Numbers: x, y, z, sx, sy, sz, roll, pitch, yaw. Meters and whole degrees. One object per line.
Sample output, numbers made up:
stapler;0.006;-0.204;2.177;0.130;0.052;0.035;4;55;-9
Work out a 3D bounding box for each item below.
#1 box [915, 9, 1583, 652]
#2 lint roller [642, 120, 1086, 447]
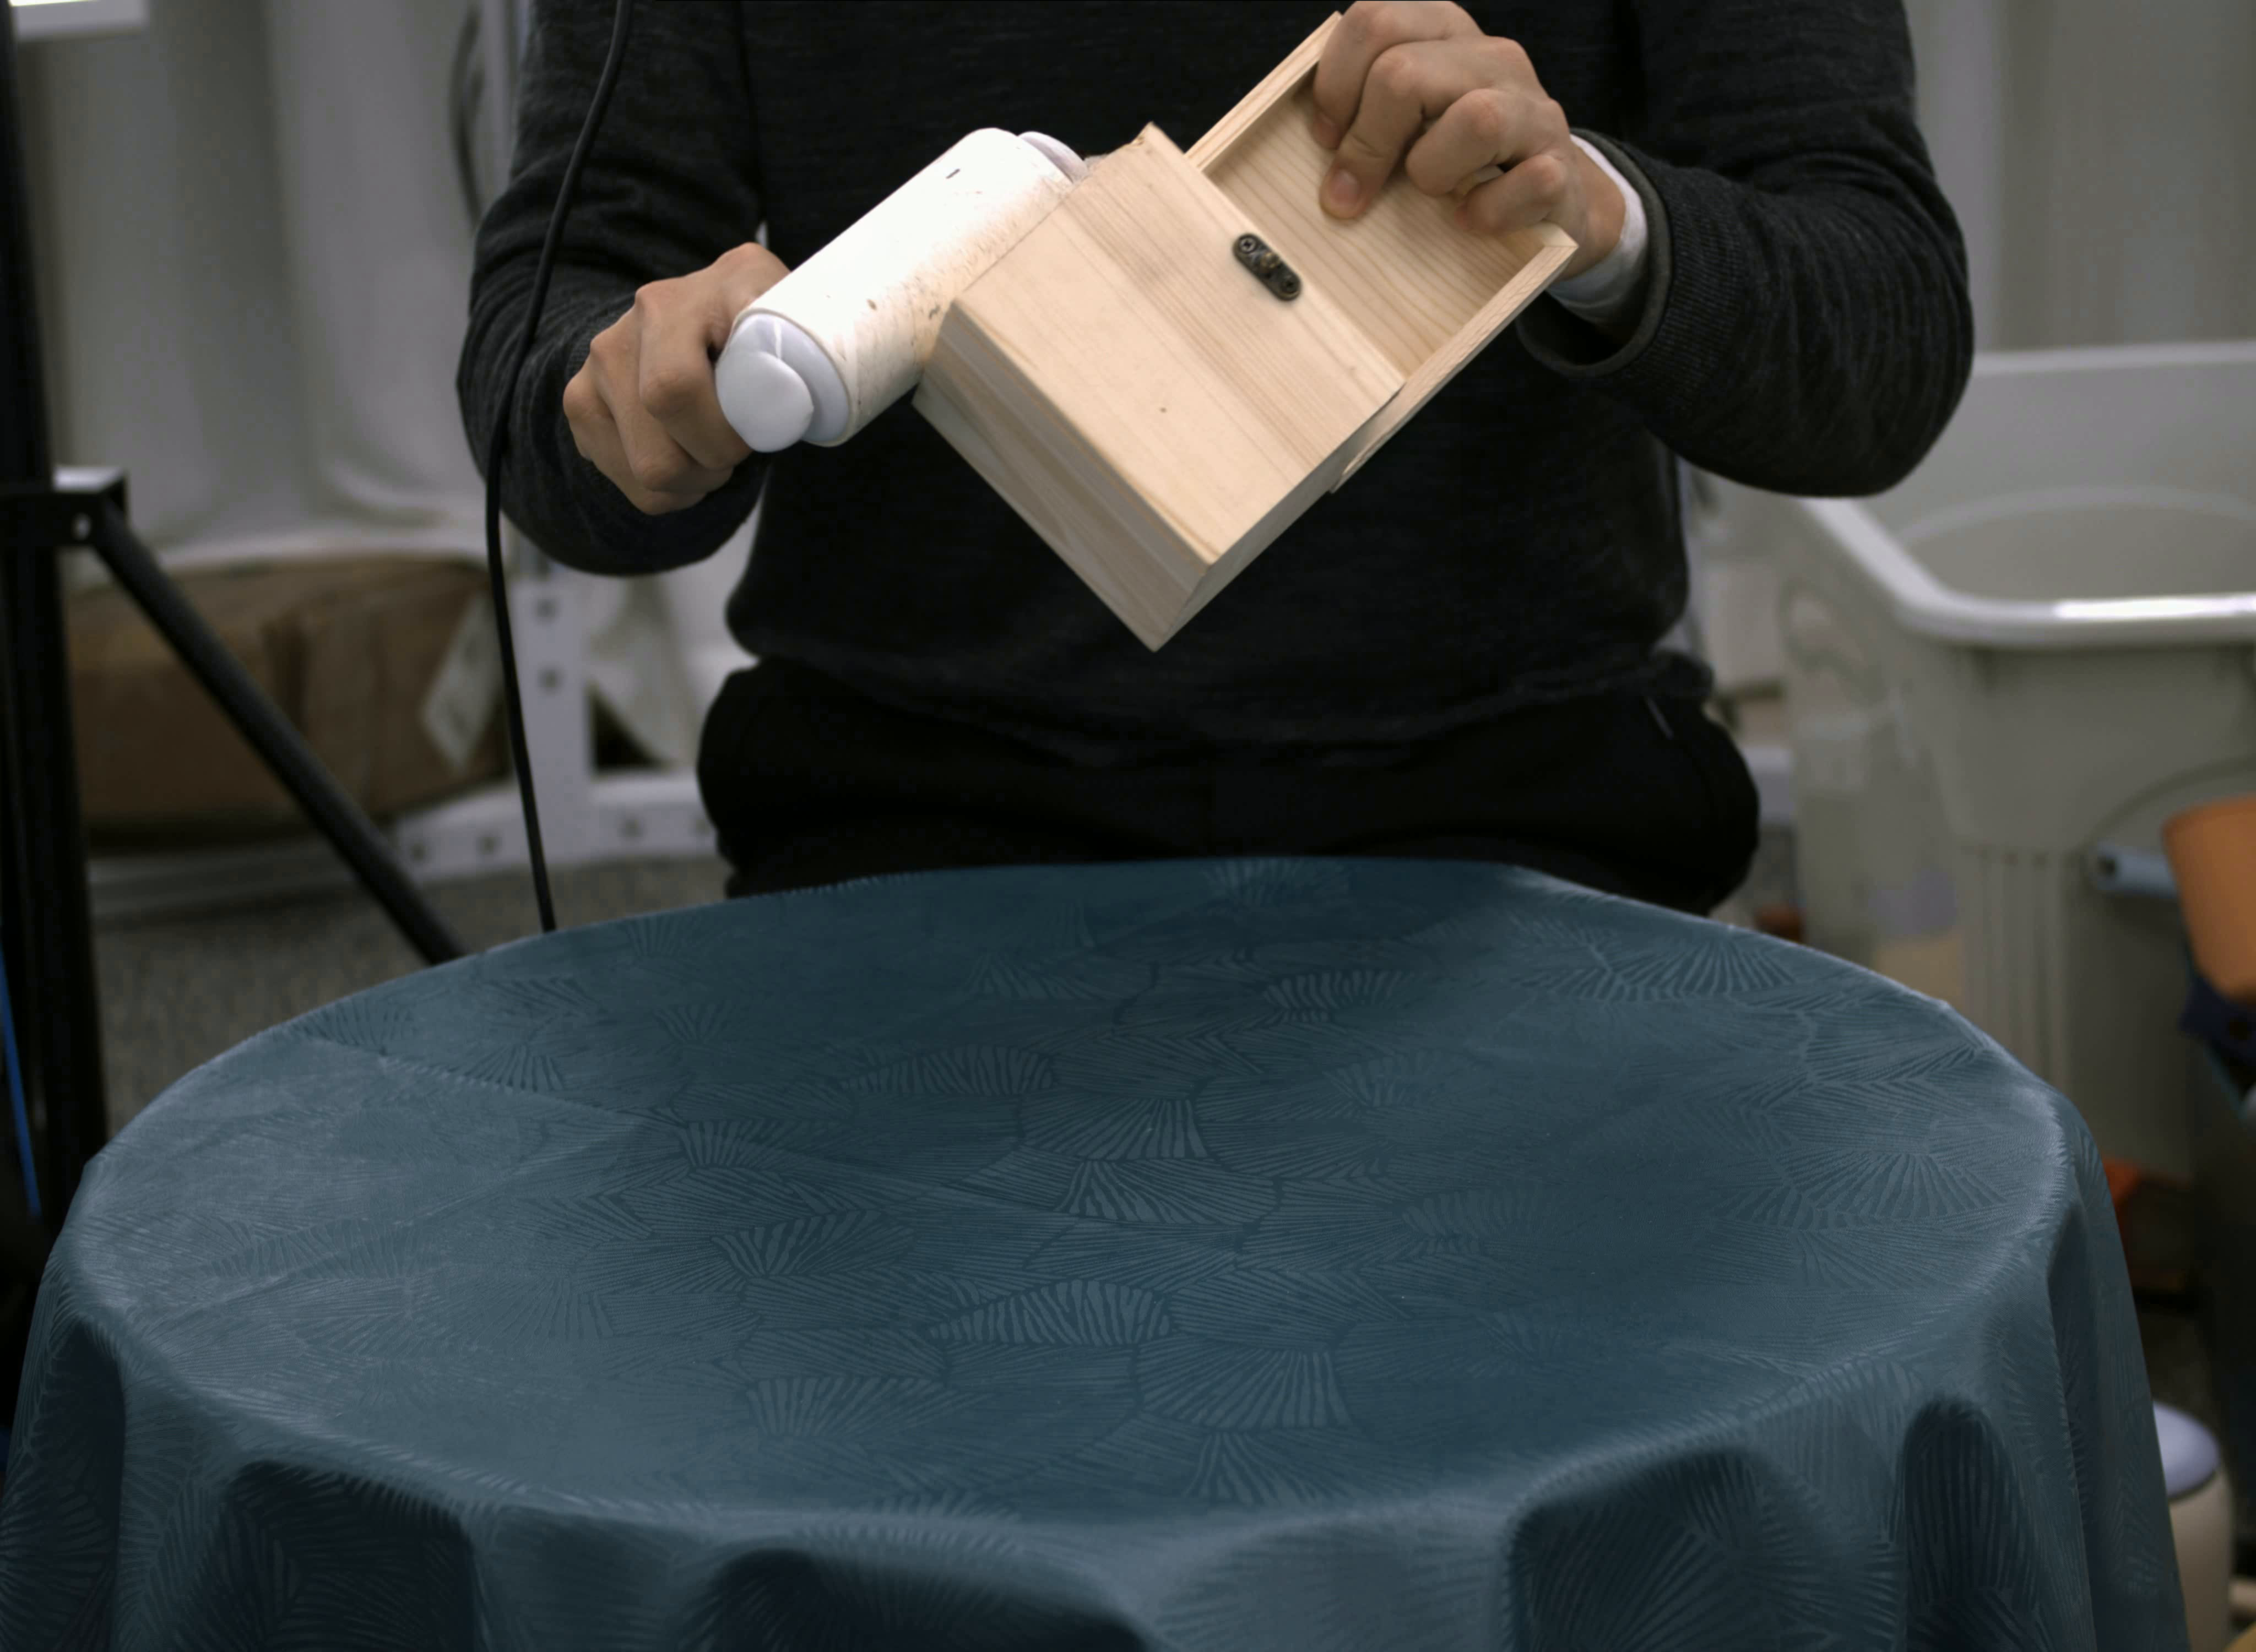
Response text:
box;0.043;-0.154;1.503;0.183;0.103;0.134;-43;-4;-14
lint roller;-0.099;-0.149;1.565;0.131;0.050;0.184;-43;19;-29
